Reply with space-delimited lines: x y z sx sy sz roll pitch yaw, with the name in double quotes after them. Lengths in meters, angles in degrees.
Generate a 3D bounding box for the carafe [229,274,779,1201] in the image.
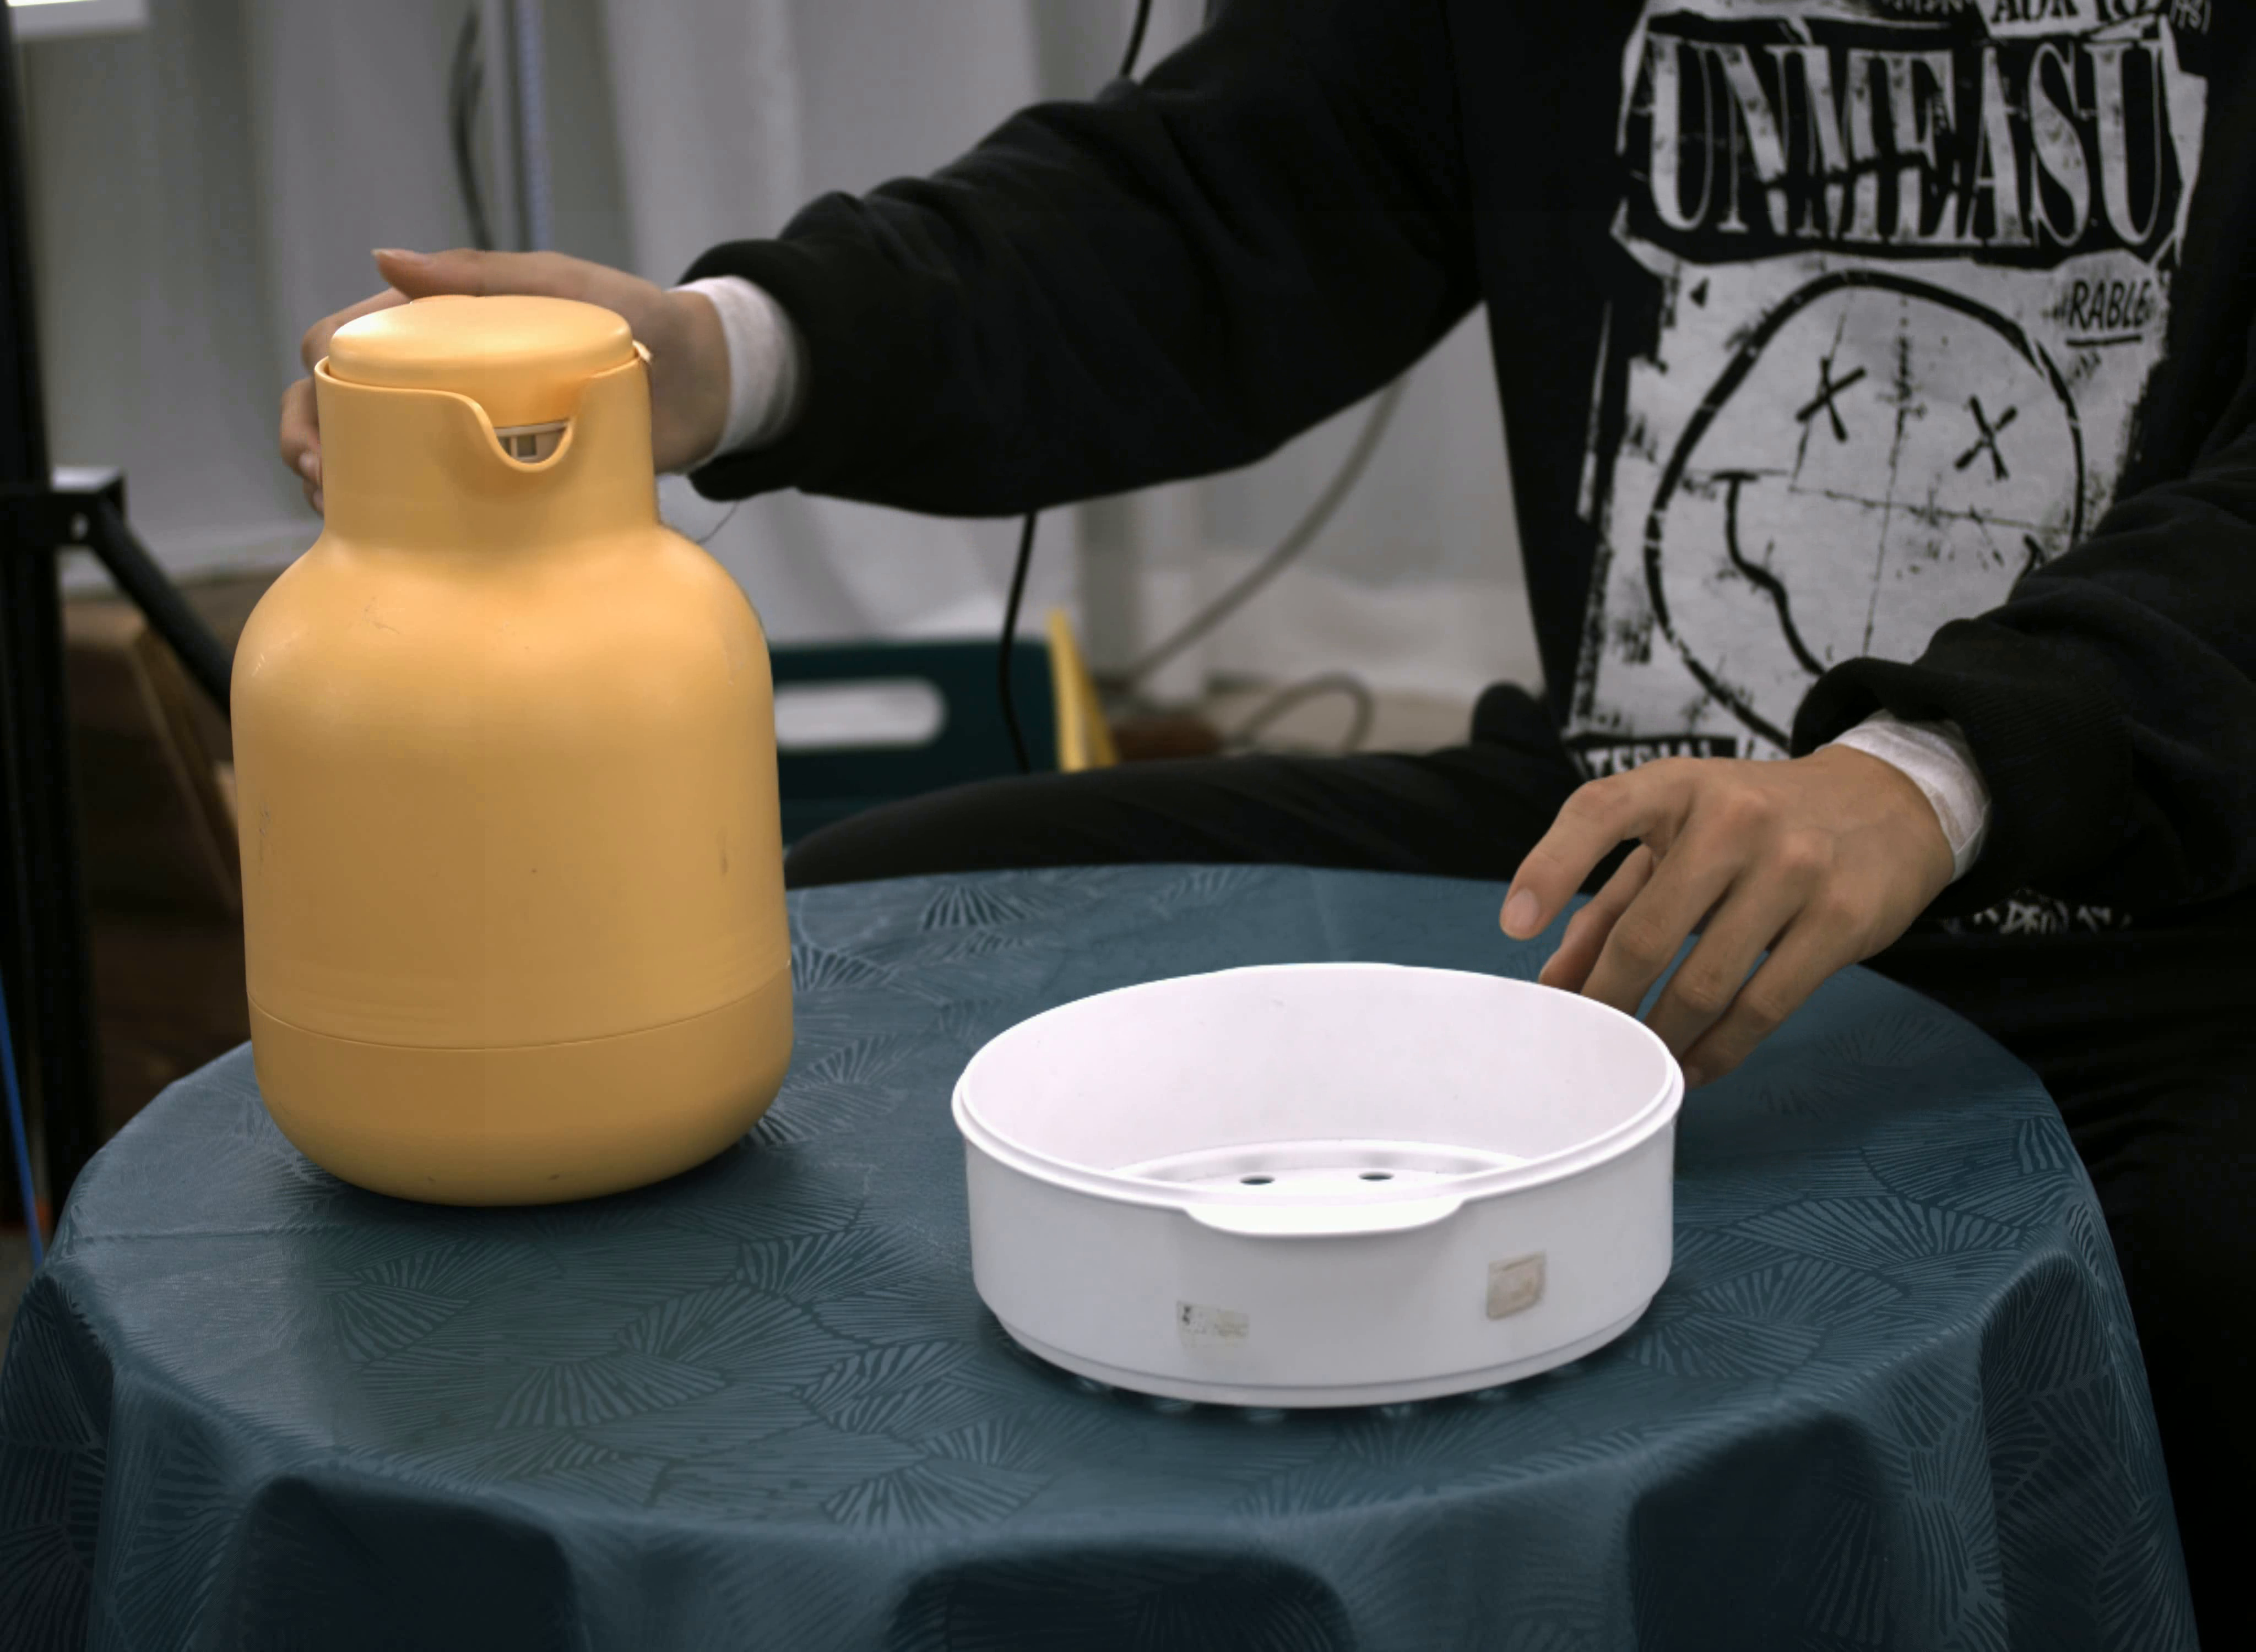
-0.189 -0.034 1.607 0.161 0.260 0.205 -3 17 -13 "carafe"

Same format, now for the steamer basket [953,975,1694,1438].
0.054 0.103 1.448 0.201 0.069 0.231 -3 16 2 "steamer basket"
